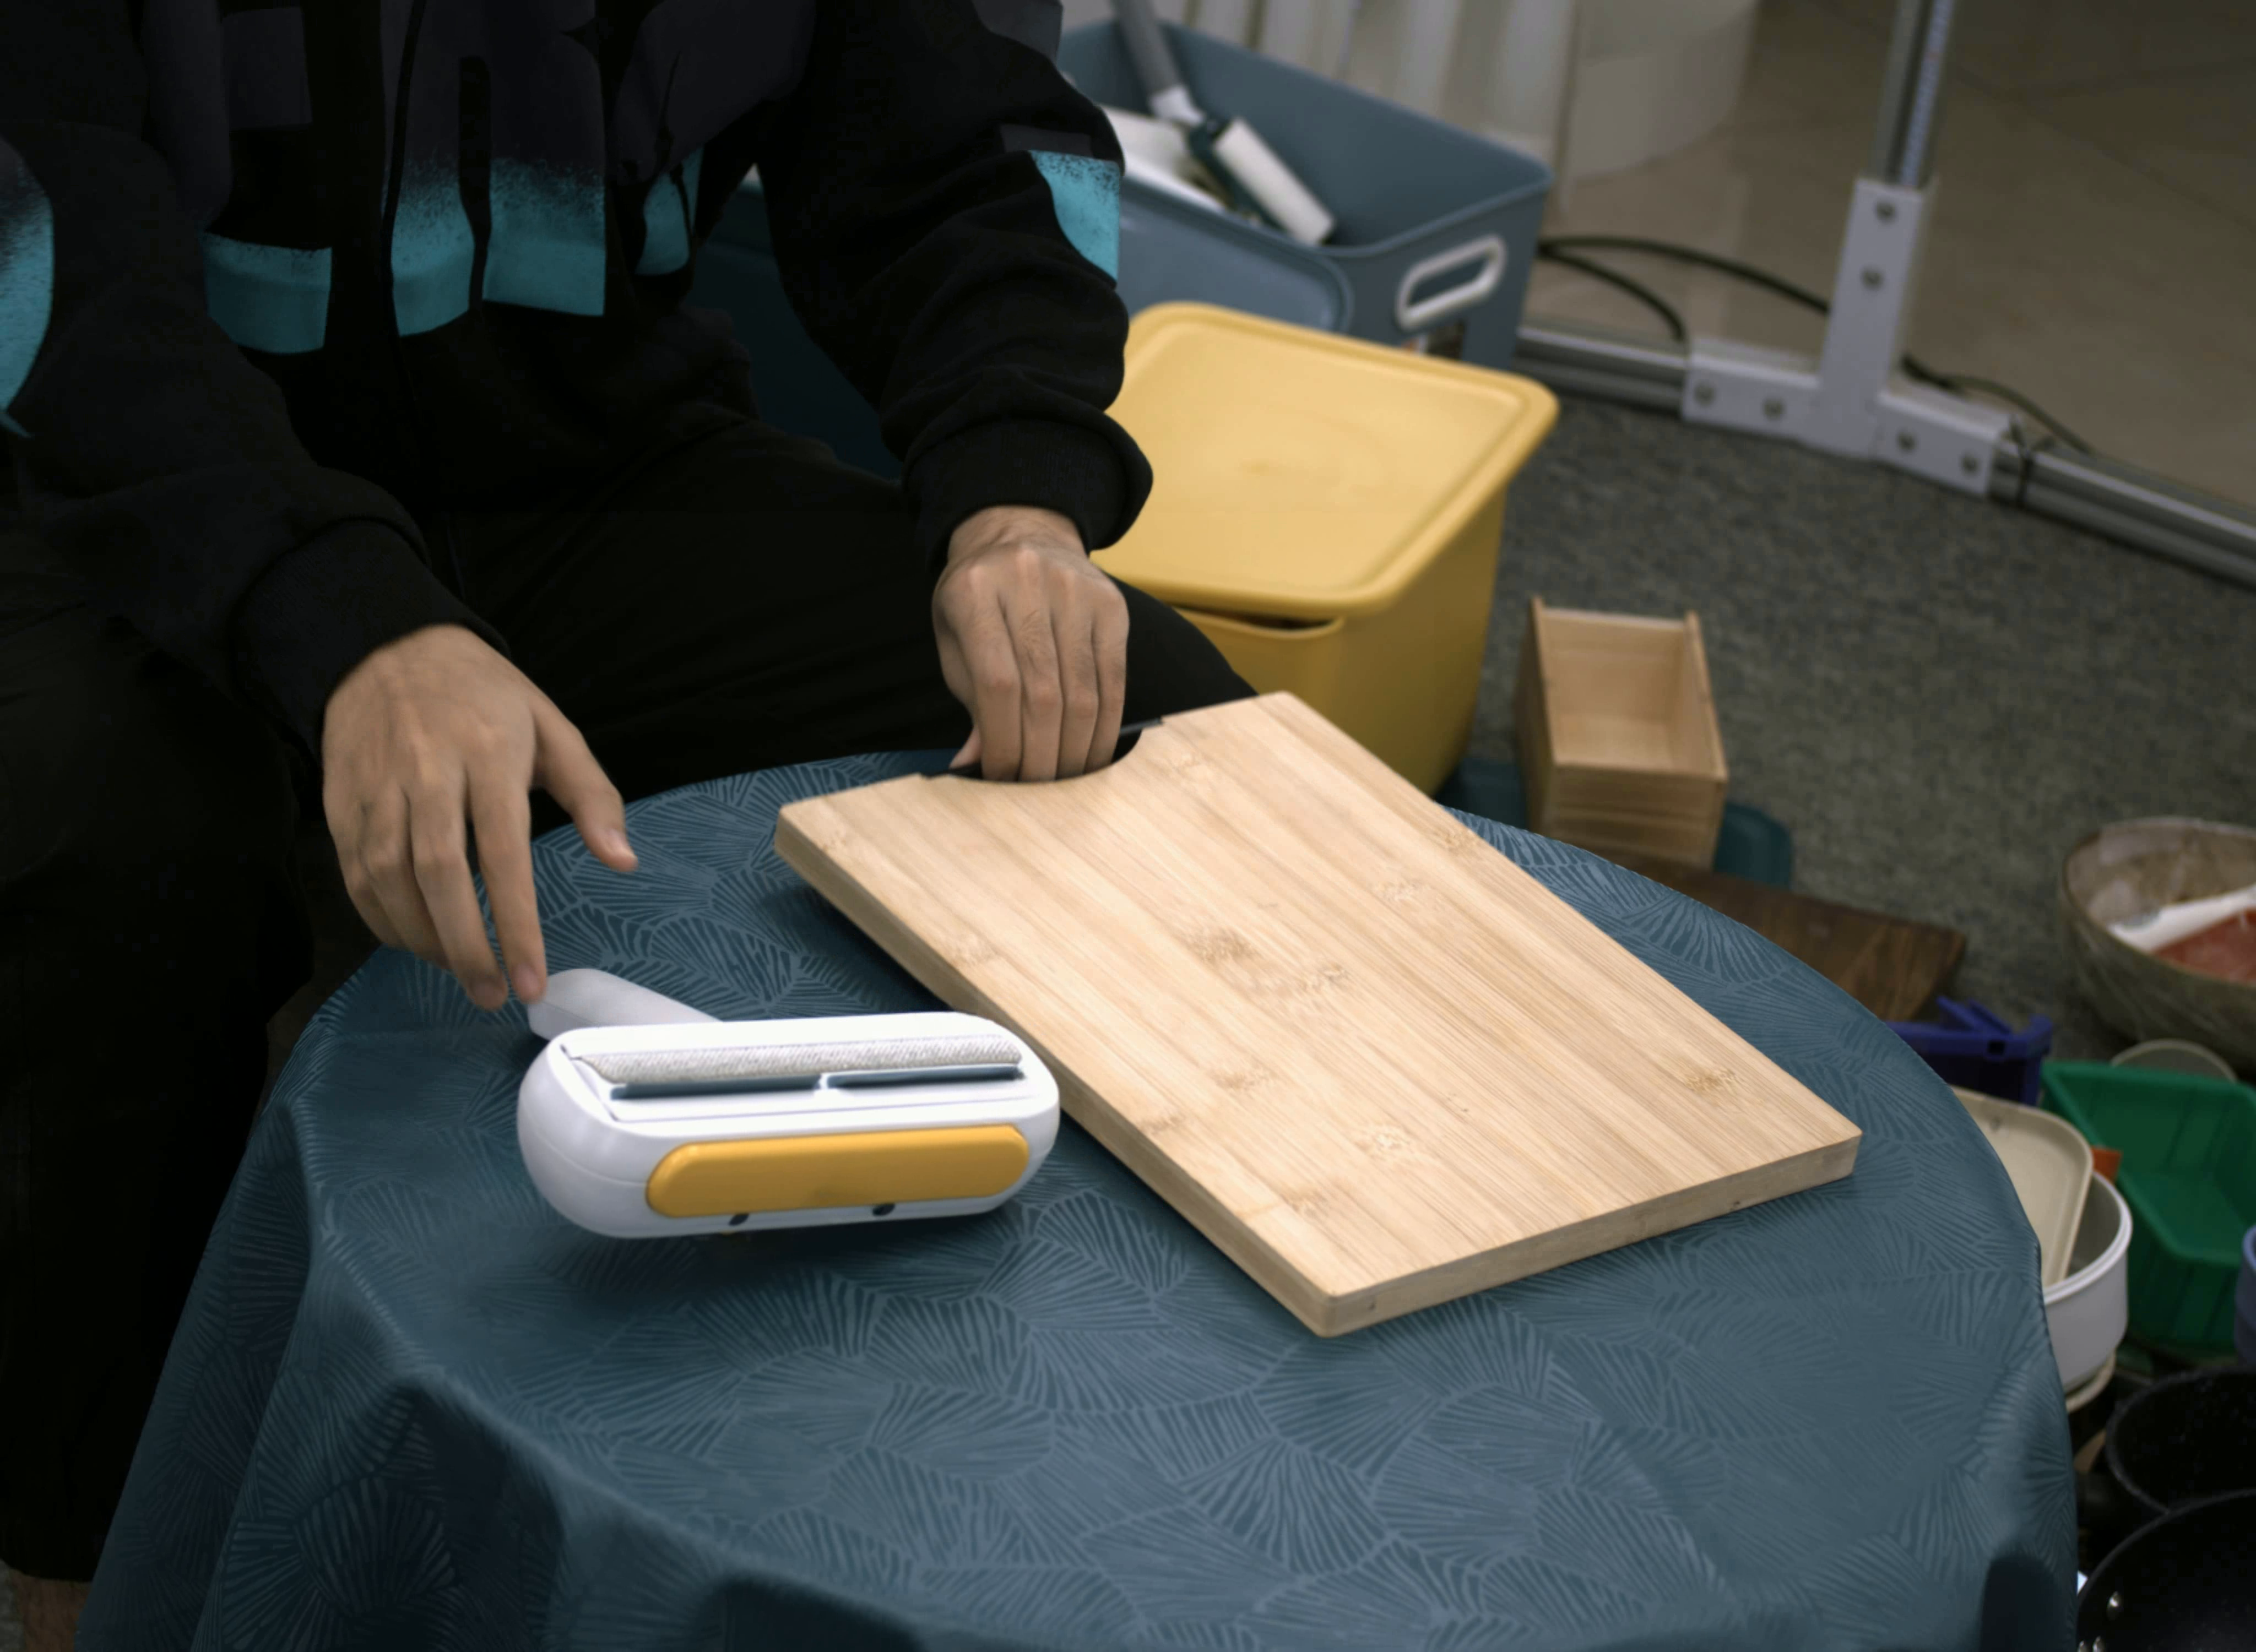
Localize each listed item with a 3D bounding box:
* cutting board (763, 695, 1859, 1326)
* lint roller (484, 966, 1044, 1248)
[{"bbox_3d":[0.059,0.058,1.910,0.249,0.023,0.352,-13,35,-34],"label":"cutting board"},{"bbox_3d":[-0.146,0.080,1.780,0.191,0.074,0.194,-4,26,-31],"label":"lint roller"}]
